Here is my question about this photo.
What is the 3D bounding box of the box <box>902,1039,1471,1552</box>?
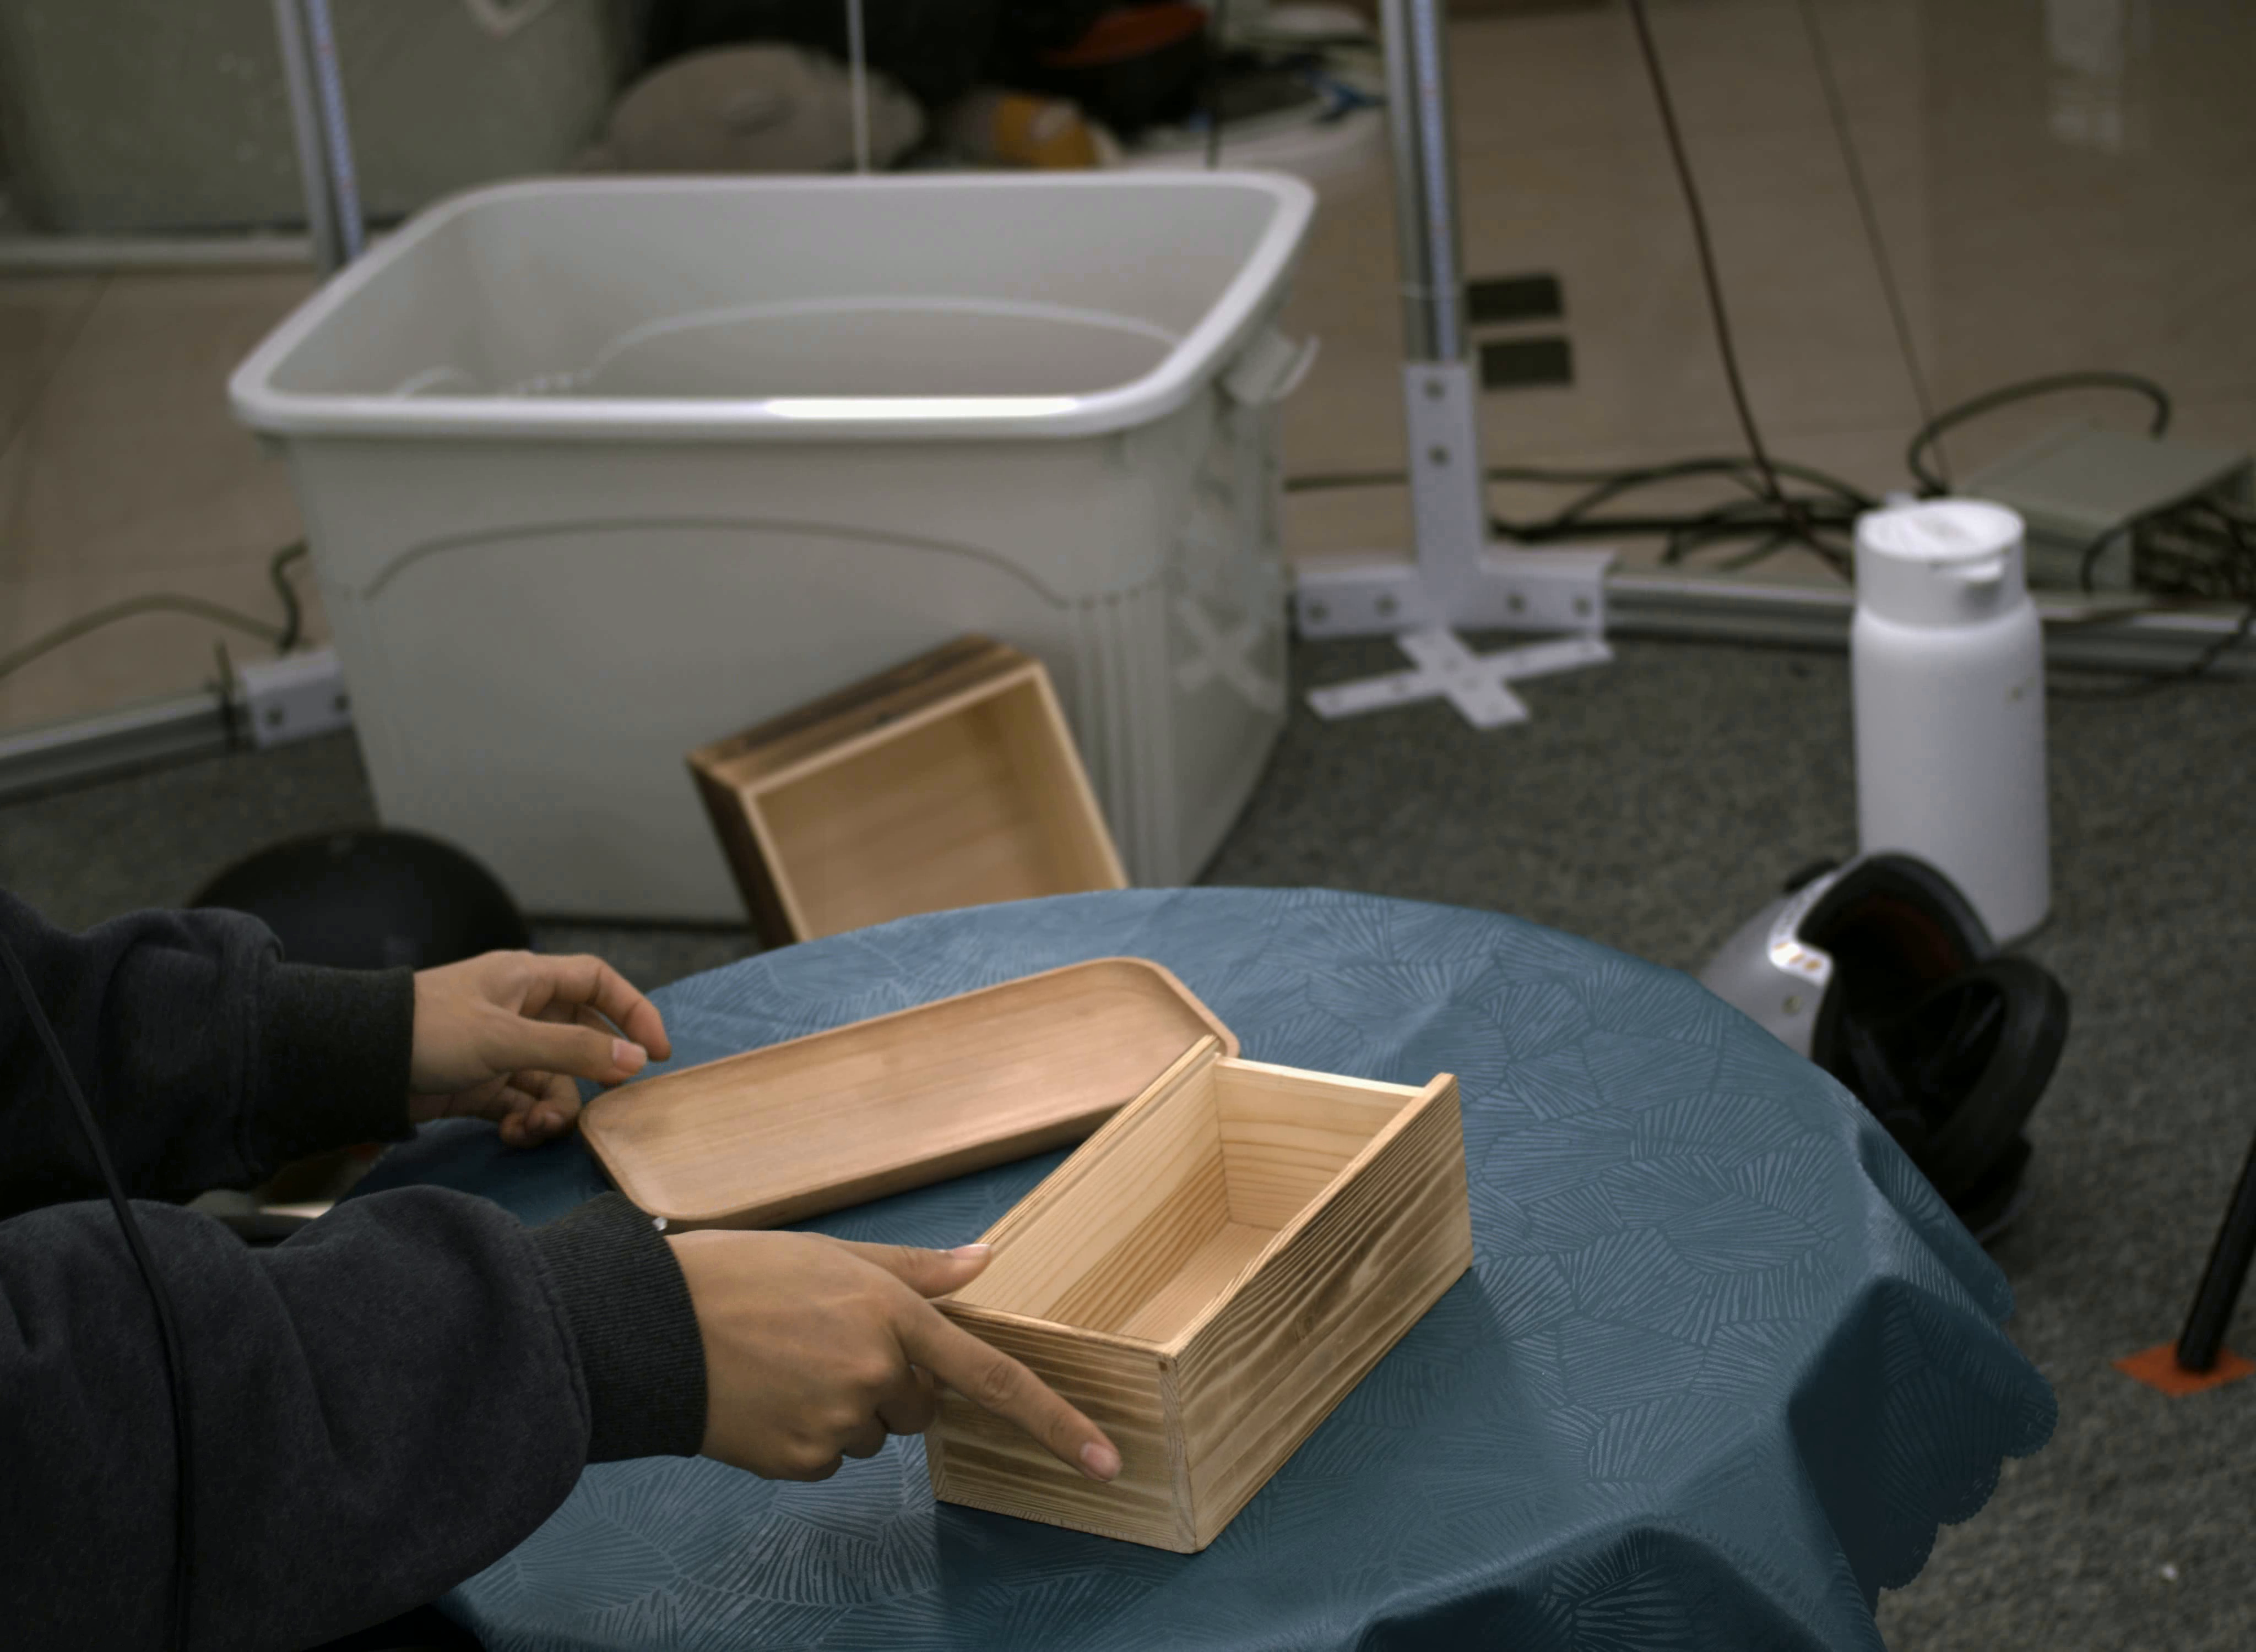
[{"bbox_3d":[0.024,0.161,1.998,0.107,0.081,0.209,9,29,29],"label":"box"}]

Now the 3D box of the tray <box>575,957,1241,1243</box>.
[{"bbox_3d":[-0.085,0.106,2.217,0.250,0.023,0.129,-15,23,-16],"label":"tray"}]
